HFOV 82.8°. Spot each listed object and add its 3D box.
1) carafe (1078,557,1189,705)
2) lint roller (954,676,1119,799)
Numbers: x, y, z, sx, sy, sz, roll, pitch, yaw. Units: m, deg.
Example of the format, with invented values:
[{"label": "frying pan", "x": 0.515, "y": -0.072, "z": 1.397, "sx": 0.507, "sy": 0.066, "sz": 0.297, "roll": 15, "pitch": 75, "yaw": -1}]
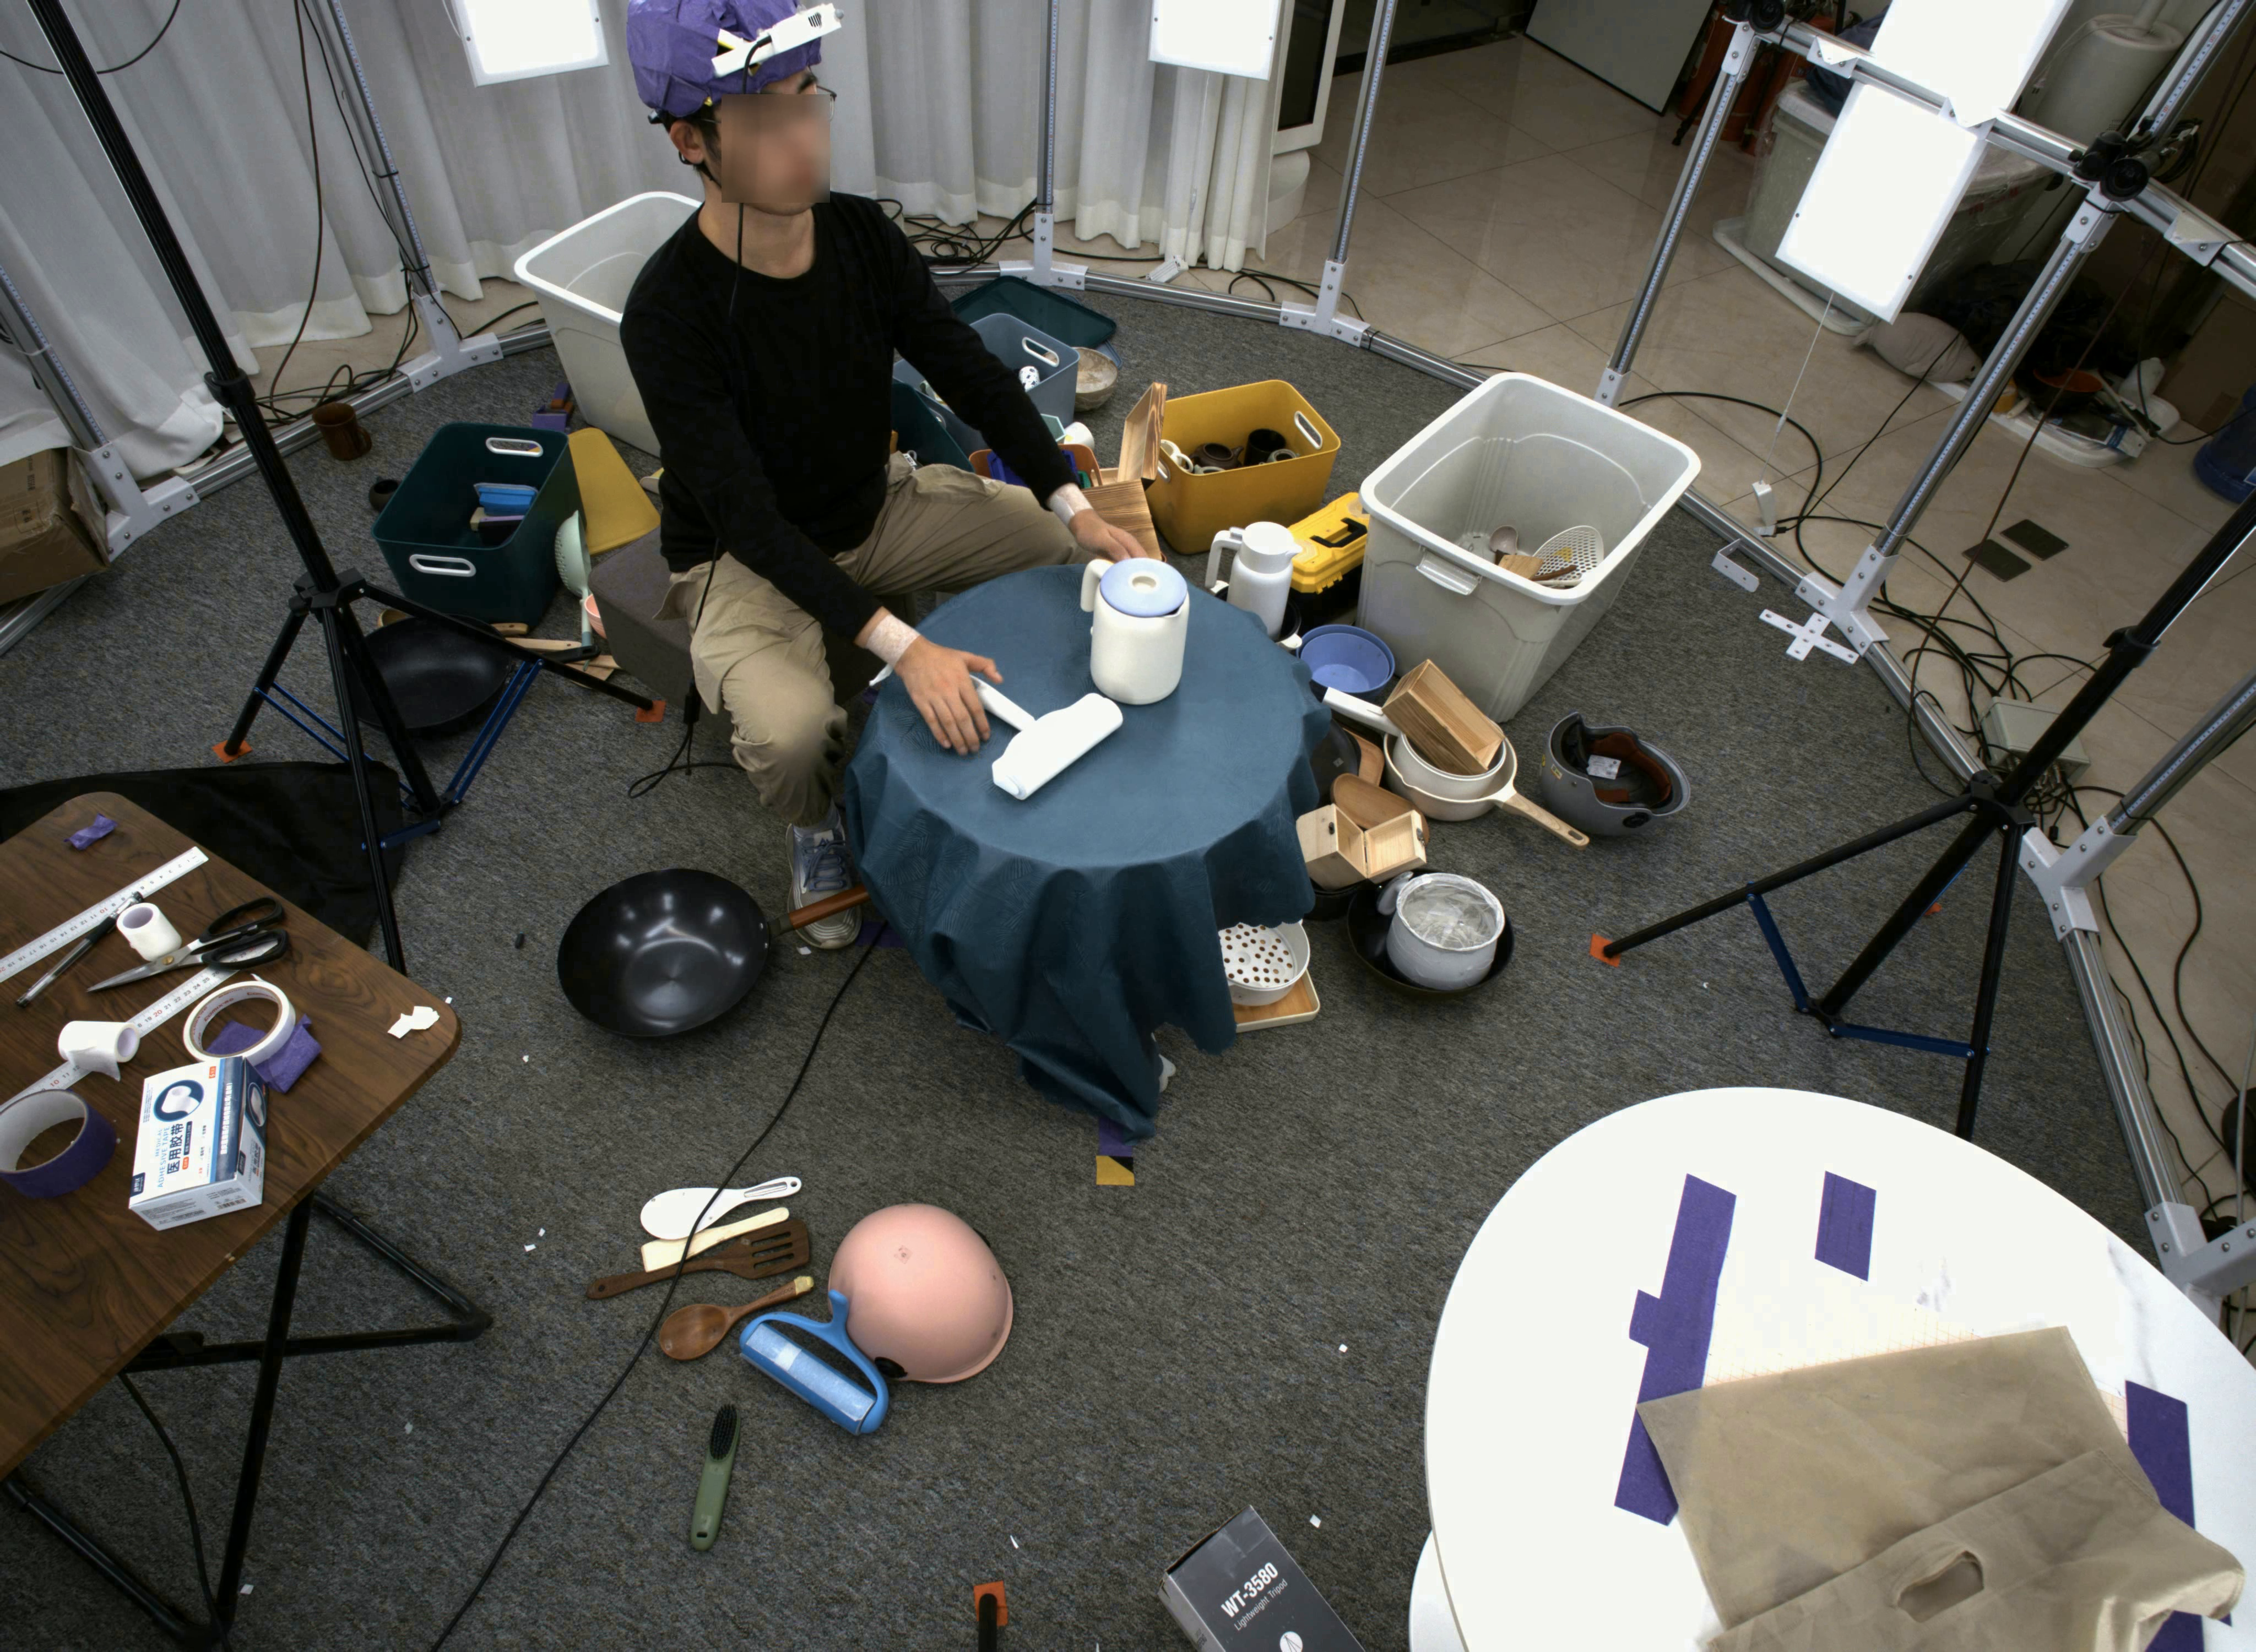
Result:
[{"label": "carafe", "x": -0.001, "y": -0.286, "z": 1.807, "sx": 0.133, "sy": 0.178, "sz": 0.194, "roll": -33, "pitch": 57, "yaw": -29}, {"label": "lint roller", "x": -0.156, "y": -0.153, "z": 1.765, "sx": 0.228, "sy": 0.047, "sz": 0.205, "roll": 34, "pitch": 57, "yaw": 25}]
